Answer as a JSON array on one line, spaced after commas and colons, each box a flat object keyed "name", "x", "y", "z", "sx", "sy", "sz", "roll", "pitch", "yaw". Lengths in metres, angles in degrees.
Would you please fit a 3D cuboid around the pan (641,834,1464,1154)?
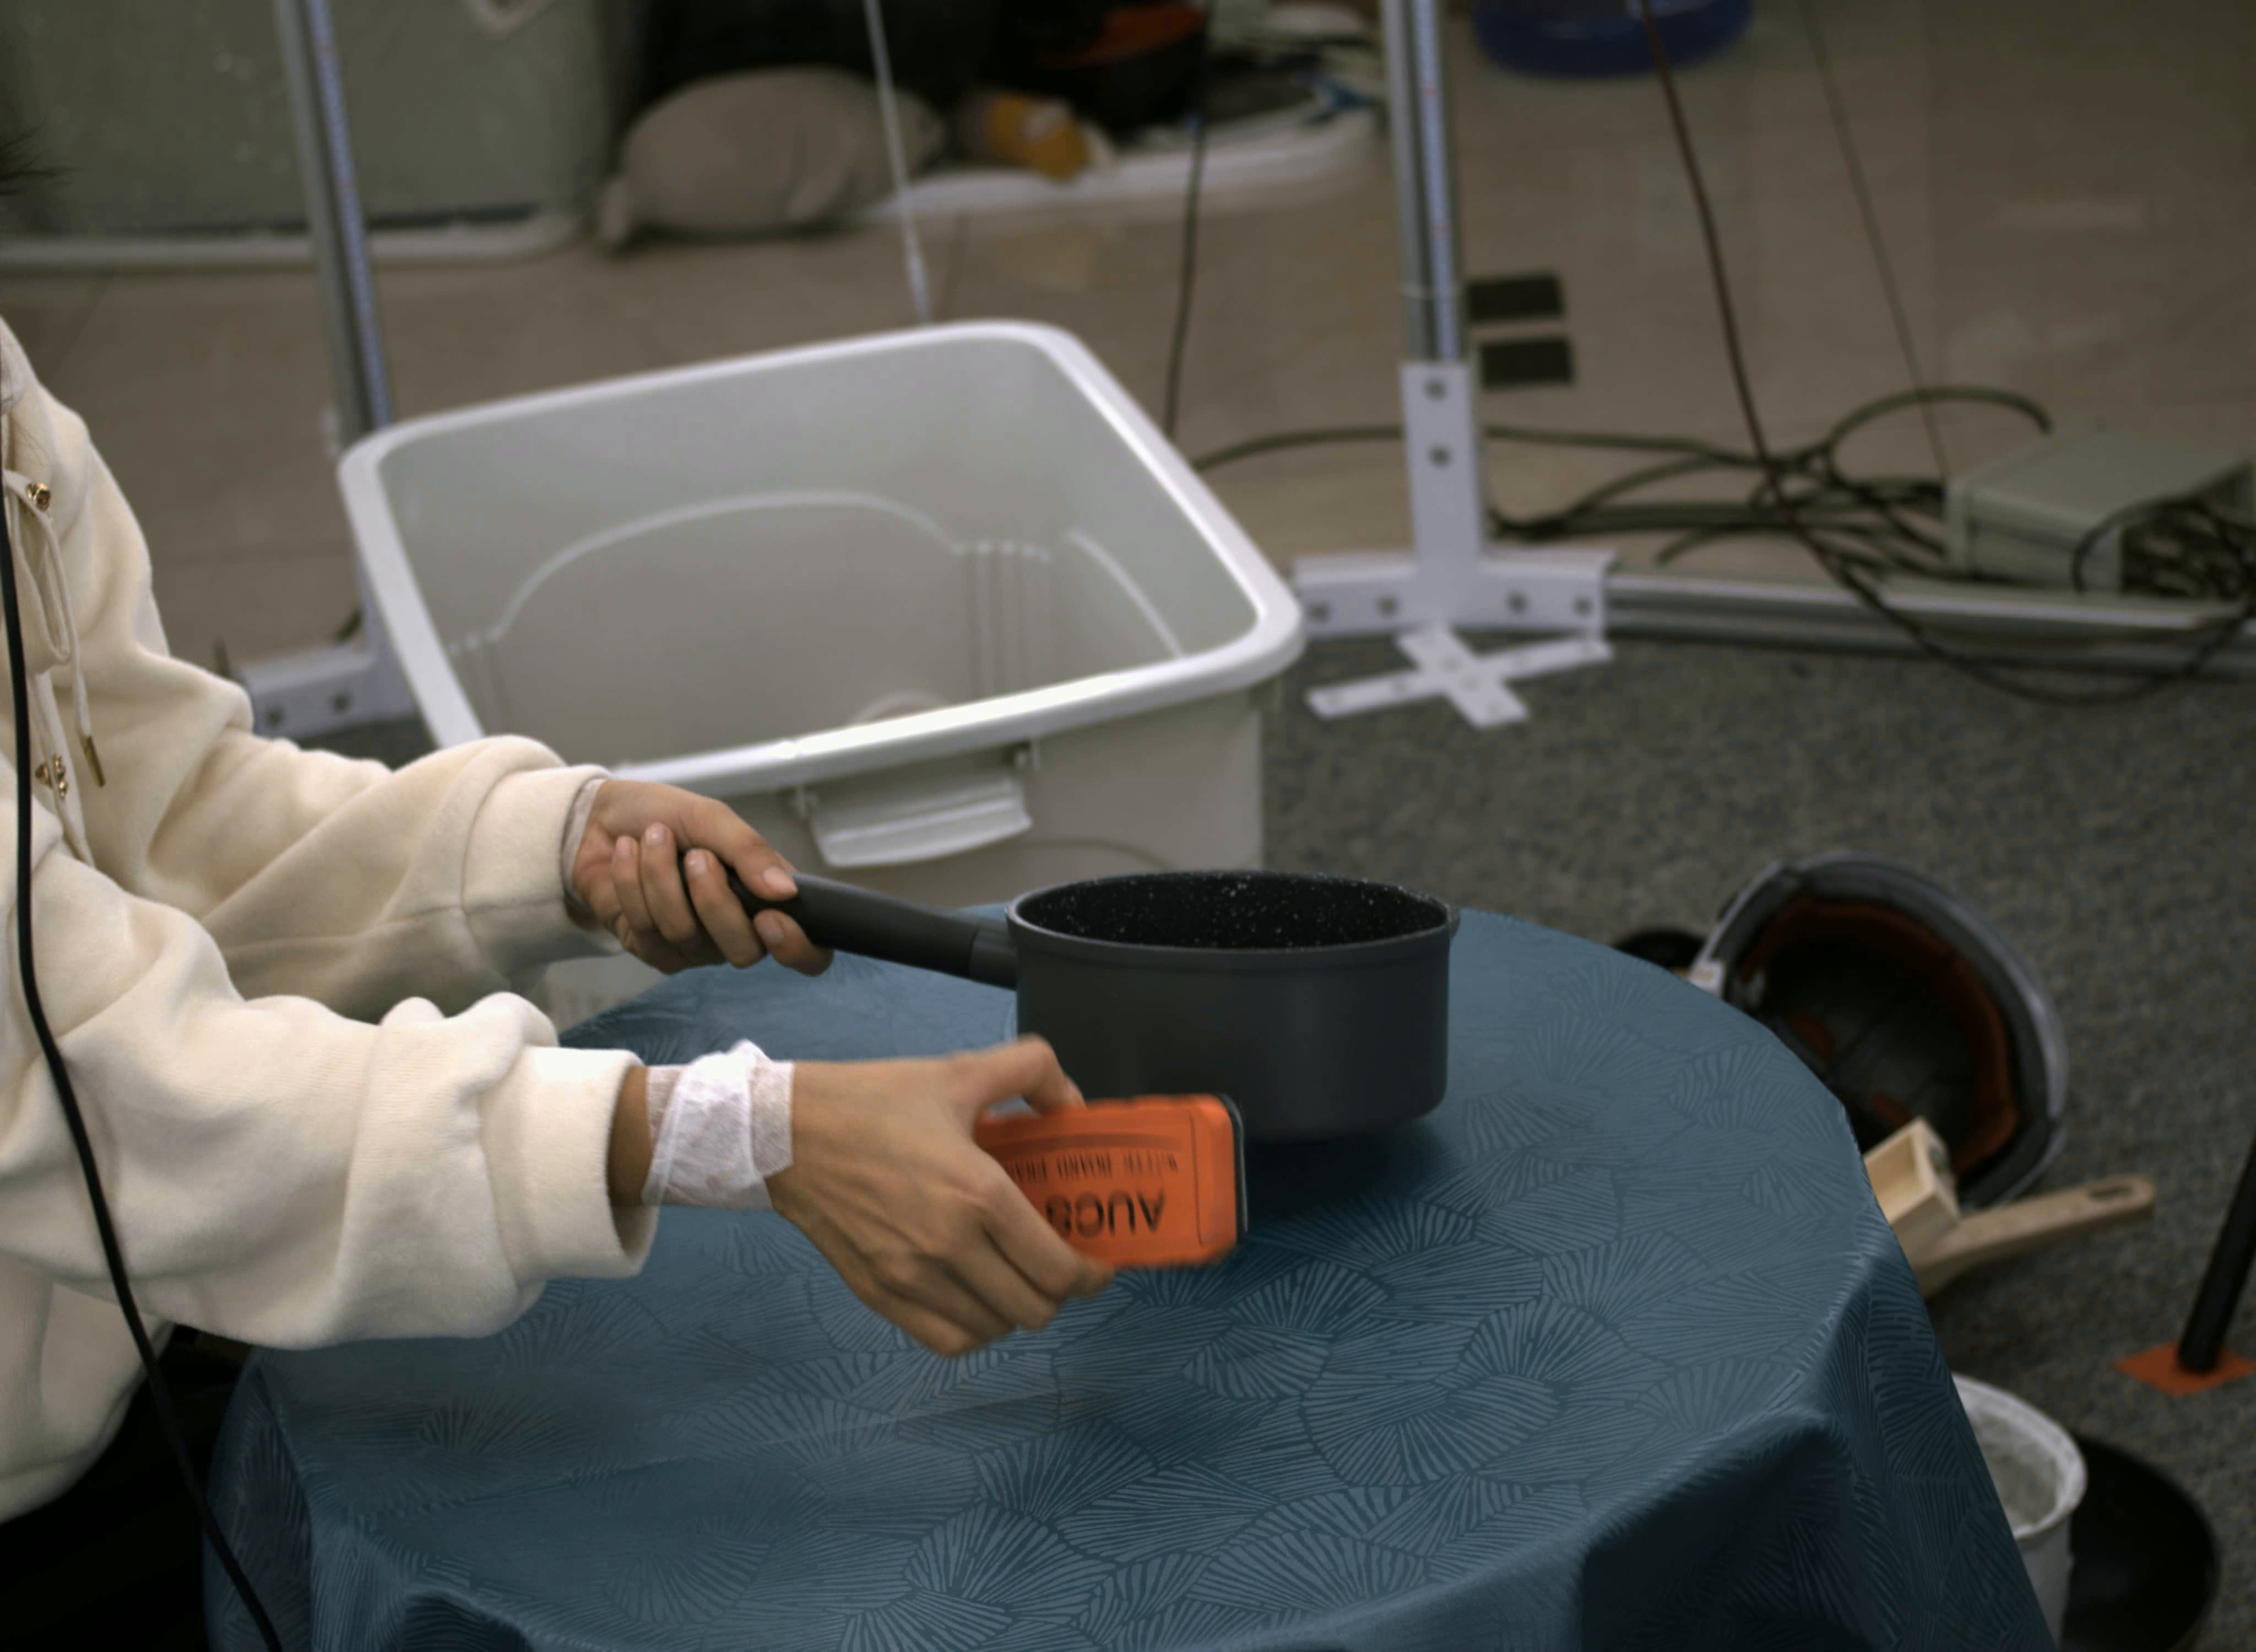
[{"name": "pan", "x": -0.034, "y": 0.061, "z": 2.167, "sx": 0.328, "sy": 0.087, "sz": 0.171, "roll": 6, "pitch": 11, "yaw": 19}]

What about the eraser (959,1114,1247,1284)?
[{"name": "eraser", "x": -0.009, "y": 0.131, "z": 1.994, "sx": 0.108, "sy": 0.059, "sz": 0.023, "roll": -4, "pitch": -5, "yaw": 32}]
